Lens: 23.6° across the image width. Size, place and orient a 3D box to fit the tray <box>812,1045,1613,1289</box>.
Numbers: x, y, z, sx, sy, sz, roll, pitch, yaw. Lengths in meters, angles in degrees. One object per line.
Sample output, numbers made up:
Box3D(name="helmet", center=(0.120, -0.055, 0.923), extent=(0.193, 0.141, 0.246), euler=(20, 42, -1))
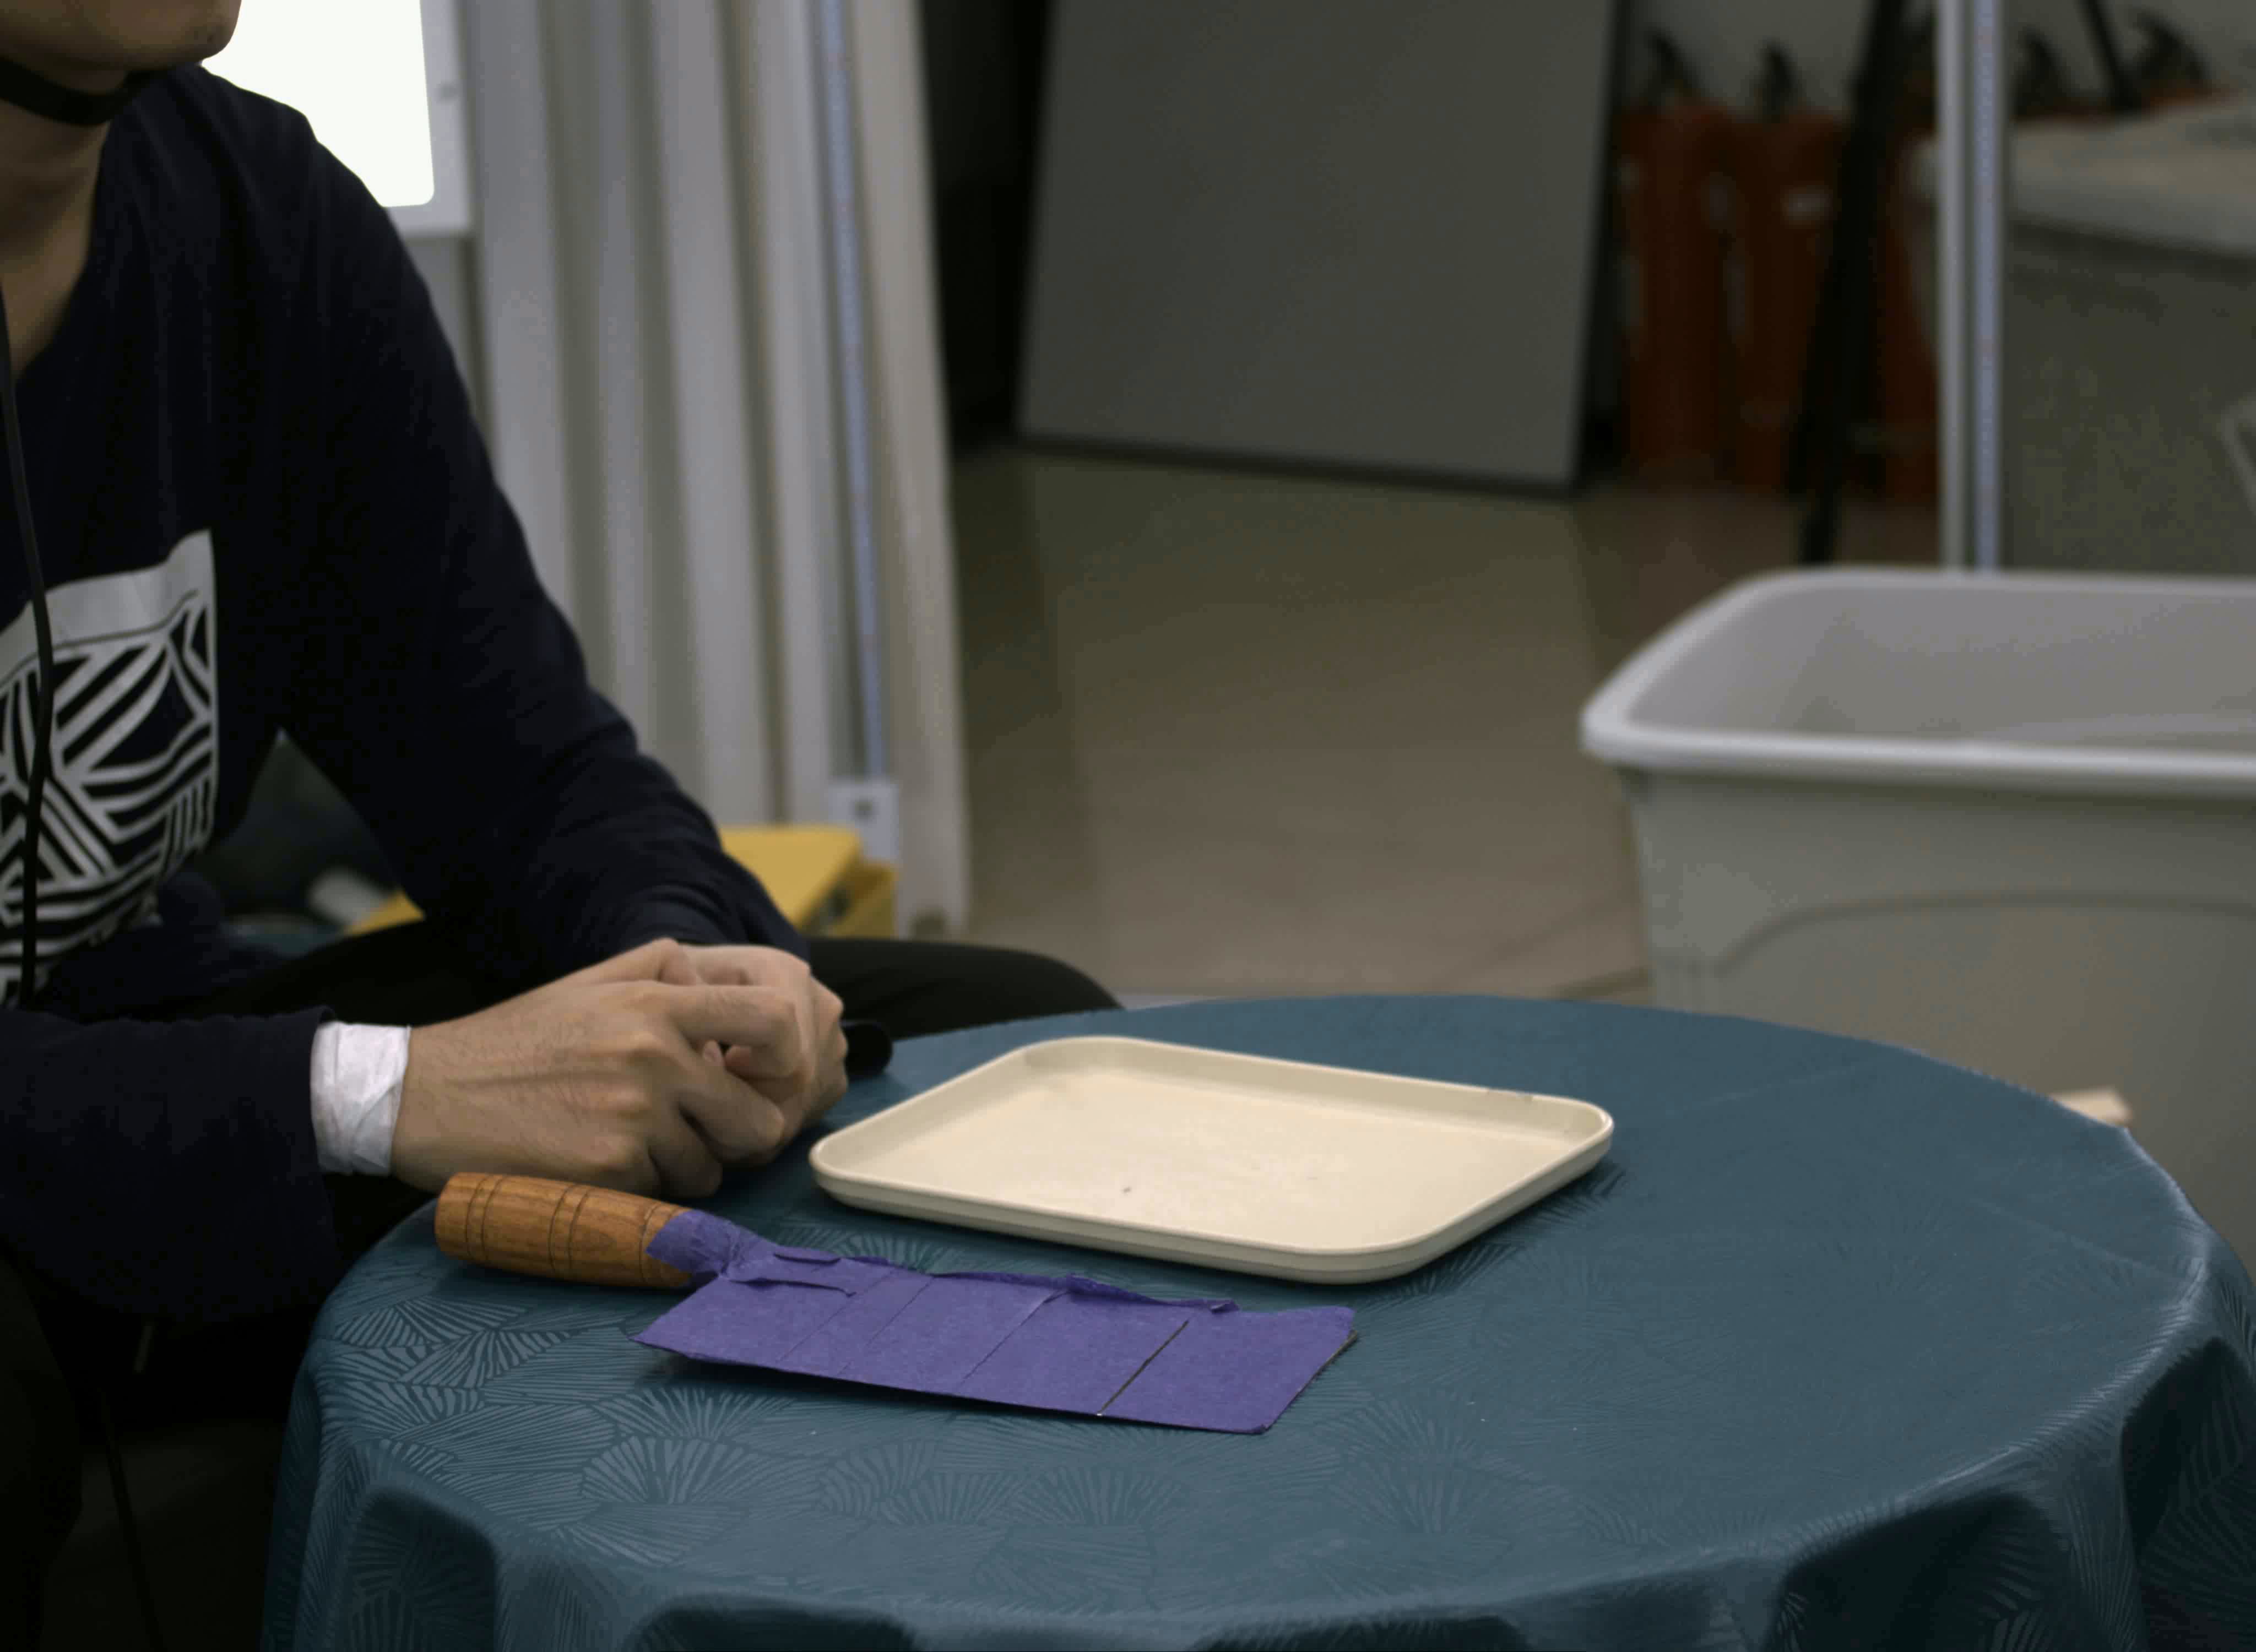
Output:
Box3D(name="tray", center=(0.028, 0.111, 1.773), extent=(0.241, 0.017, 0.168), euler=(5, 17, 36))

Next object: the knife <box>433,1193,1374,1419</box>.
Box3D(name="knife", center=(-0.085, 0.146, 1.643), extent=(0.315, 0.032, 0.102), euler=(2, 14, 24))
